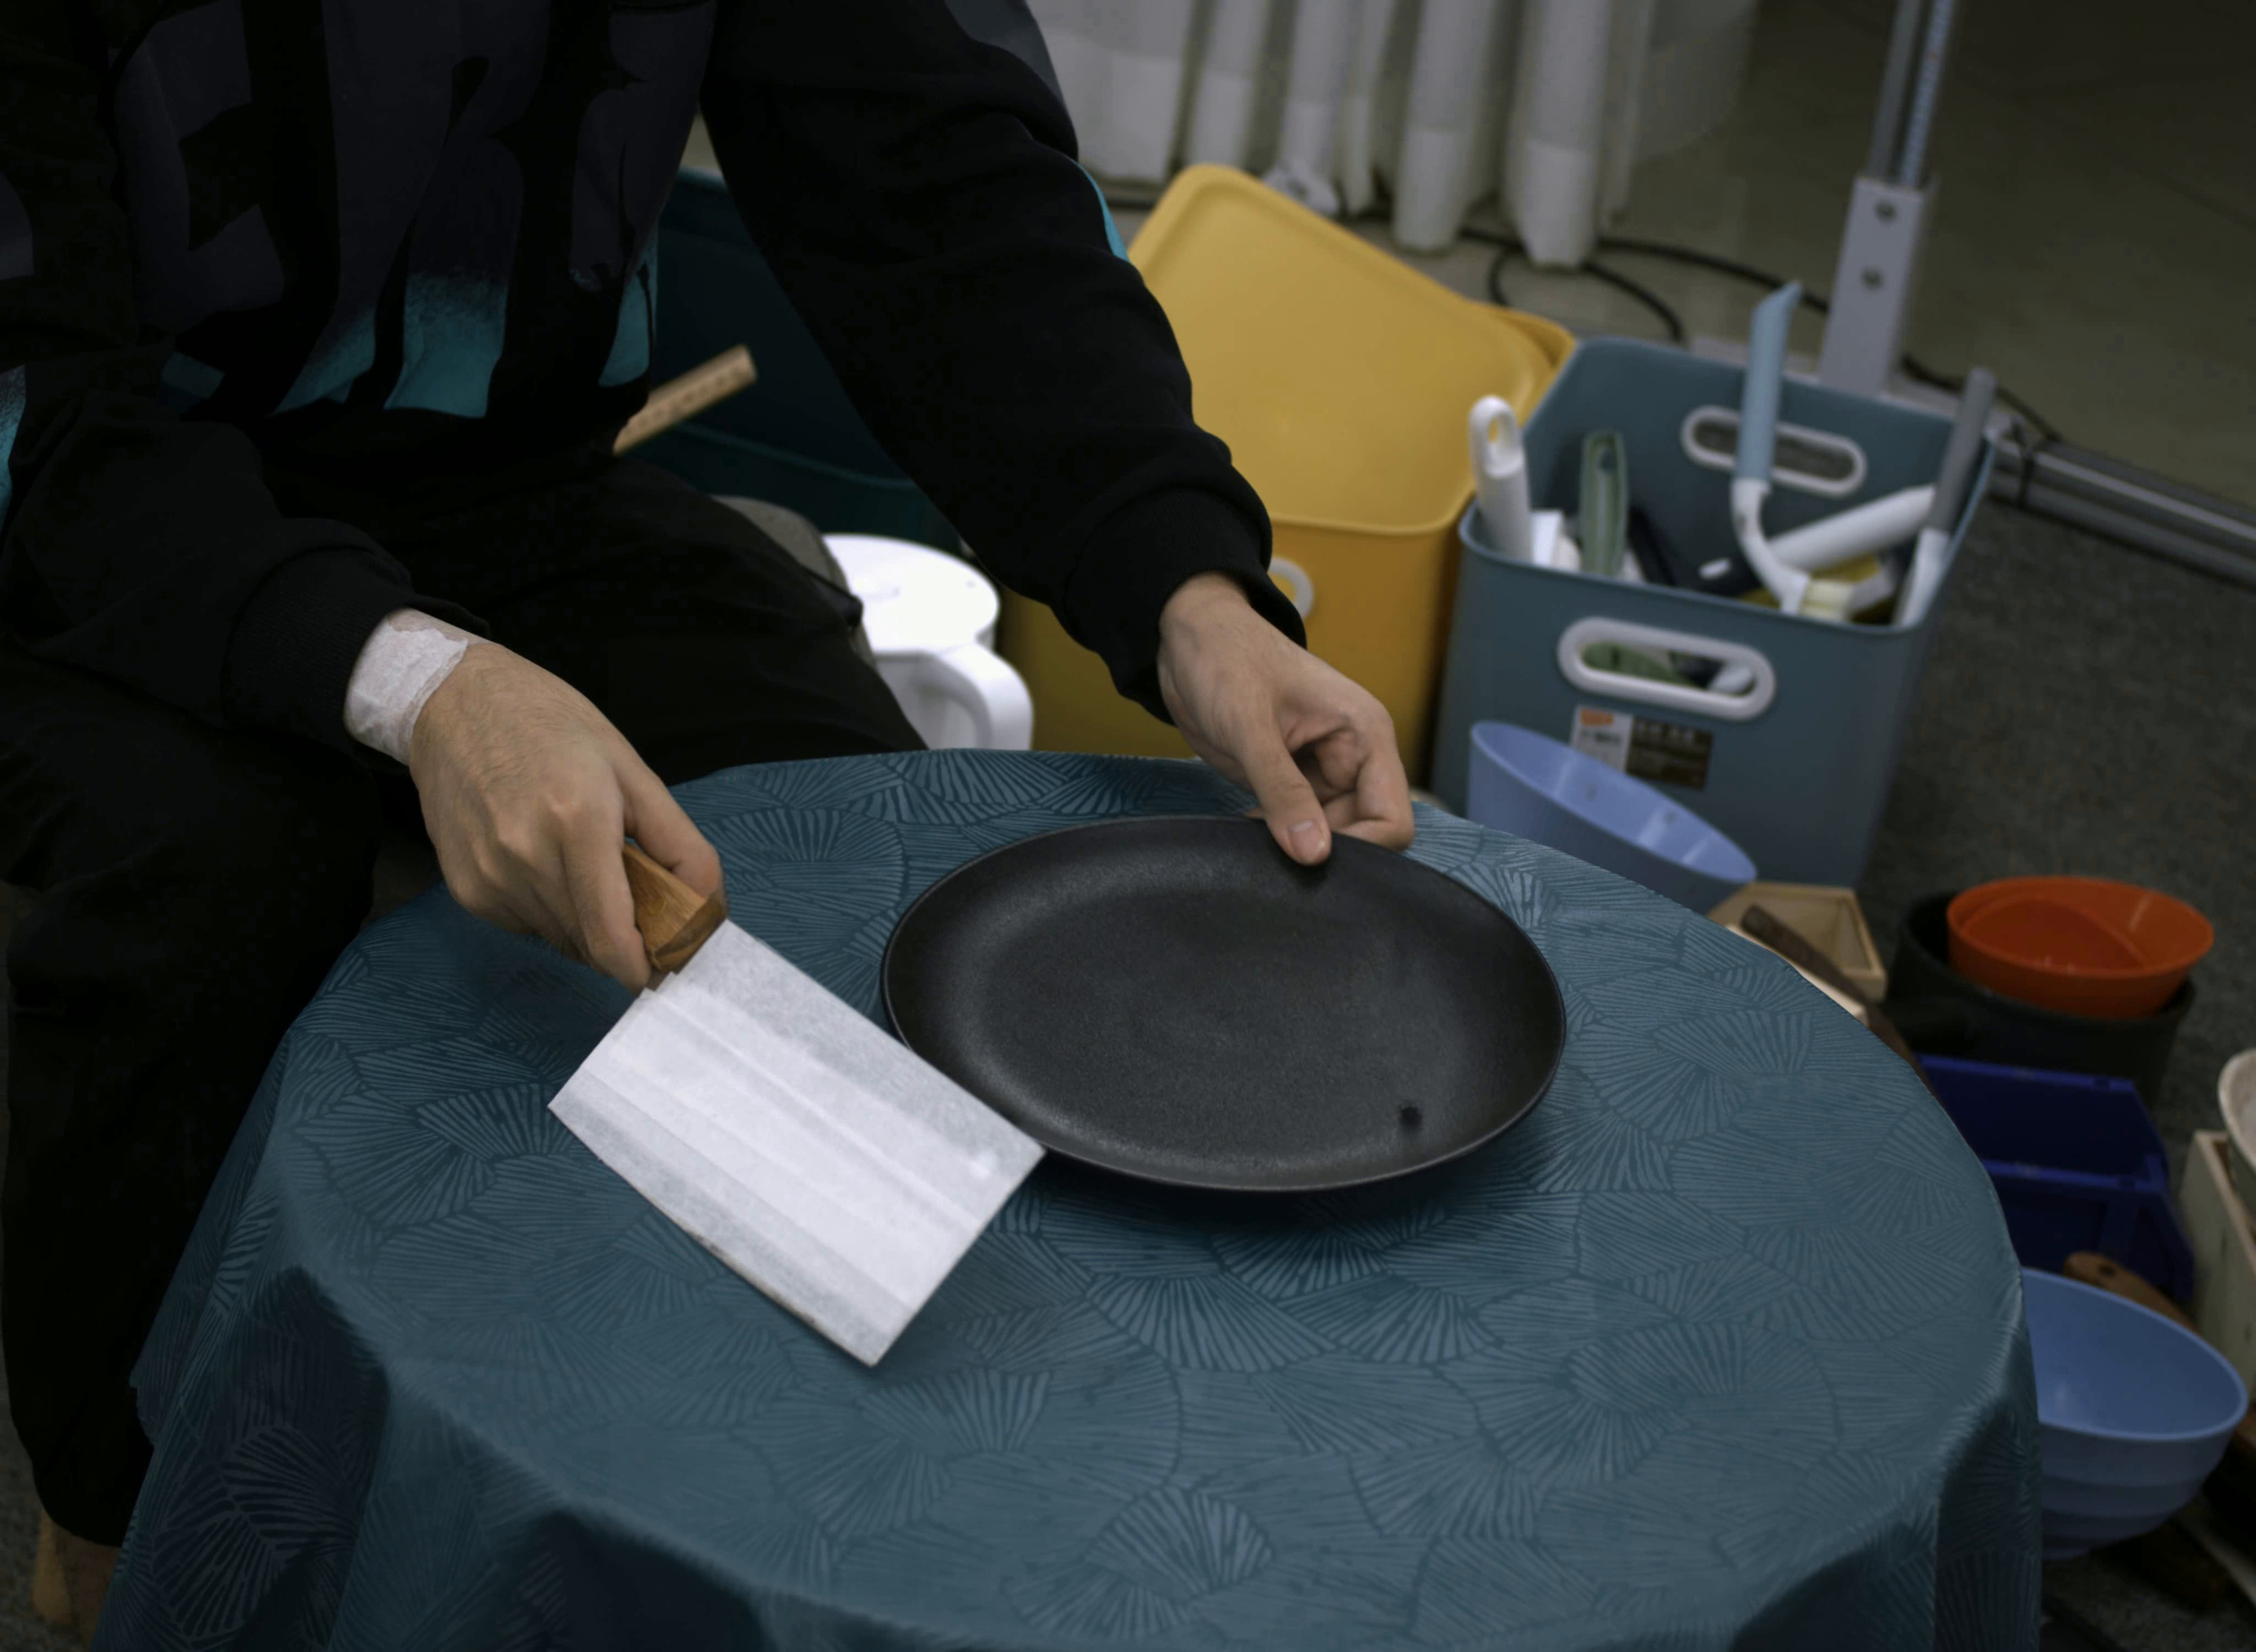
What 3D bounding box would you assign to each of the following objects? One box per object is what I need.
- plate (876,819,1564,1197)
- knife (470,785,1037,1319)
[{"bbox_3d":[0.032,0.069,1.879,0.243,0.023,0.246,3,30,-2],"label":"plate"},{"bbox_3d":[-0.146,0.076,1.789,0.093,0.021,0.308,-51,46,-6],"label":"knife"}]
